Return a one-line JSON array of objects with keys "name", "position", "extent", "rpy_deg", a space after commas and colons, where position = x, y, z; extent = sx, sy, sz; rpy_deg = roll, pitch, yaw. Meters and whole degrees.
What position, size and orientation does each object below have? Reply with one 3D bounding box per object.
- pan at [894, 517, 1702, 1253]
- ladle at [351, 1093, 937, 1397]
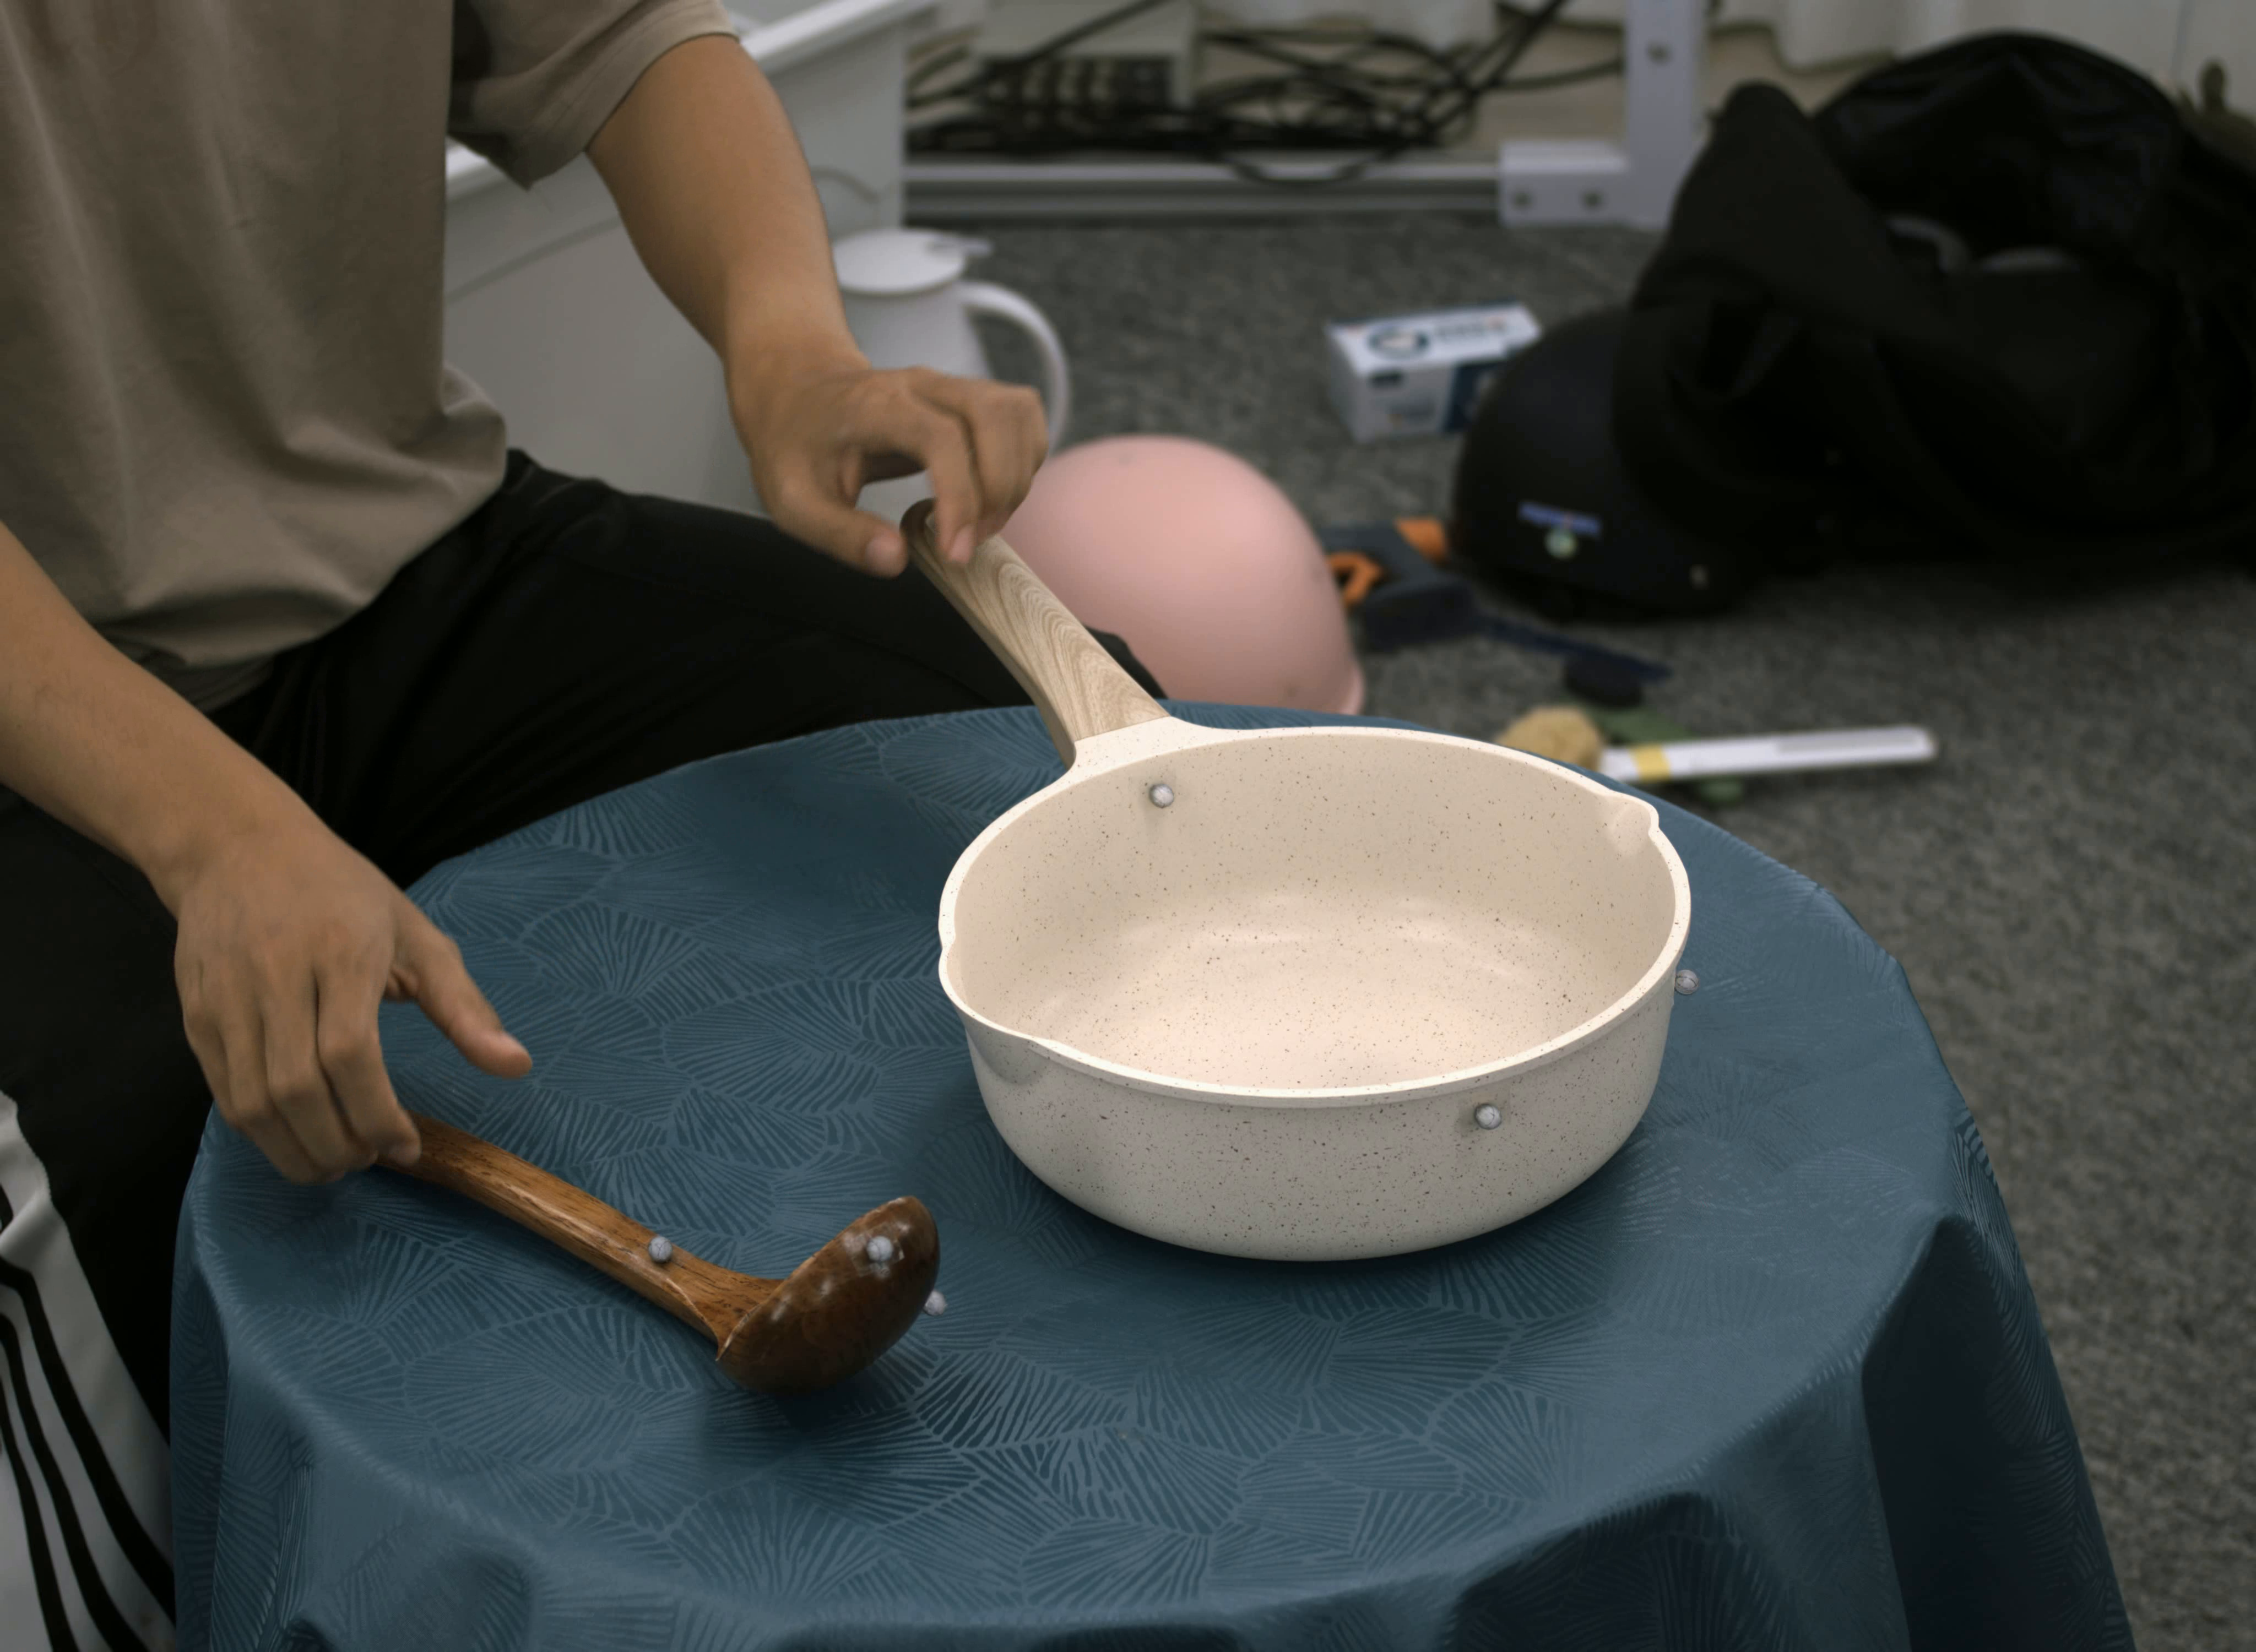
[{"name": "pan", "position": [0.026, 0.014, 1.960], "extent": [0.265, 0.101, 0.437], "rpy_deg": [-17, 30, -22]}, {"name": "ladle", "position": [-0.168, 0.115, 1.806], "extent": [0.083, 0.076, 0.274], "rpy_deg": [-27, 36, -37]}]
